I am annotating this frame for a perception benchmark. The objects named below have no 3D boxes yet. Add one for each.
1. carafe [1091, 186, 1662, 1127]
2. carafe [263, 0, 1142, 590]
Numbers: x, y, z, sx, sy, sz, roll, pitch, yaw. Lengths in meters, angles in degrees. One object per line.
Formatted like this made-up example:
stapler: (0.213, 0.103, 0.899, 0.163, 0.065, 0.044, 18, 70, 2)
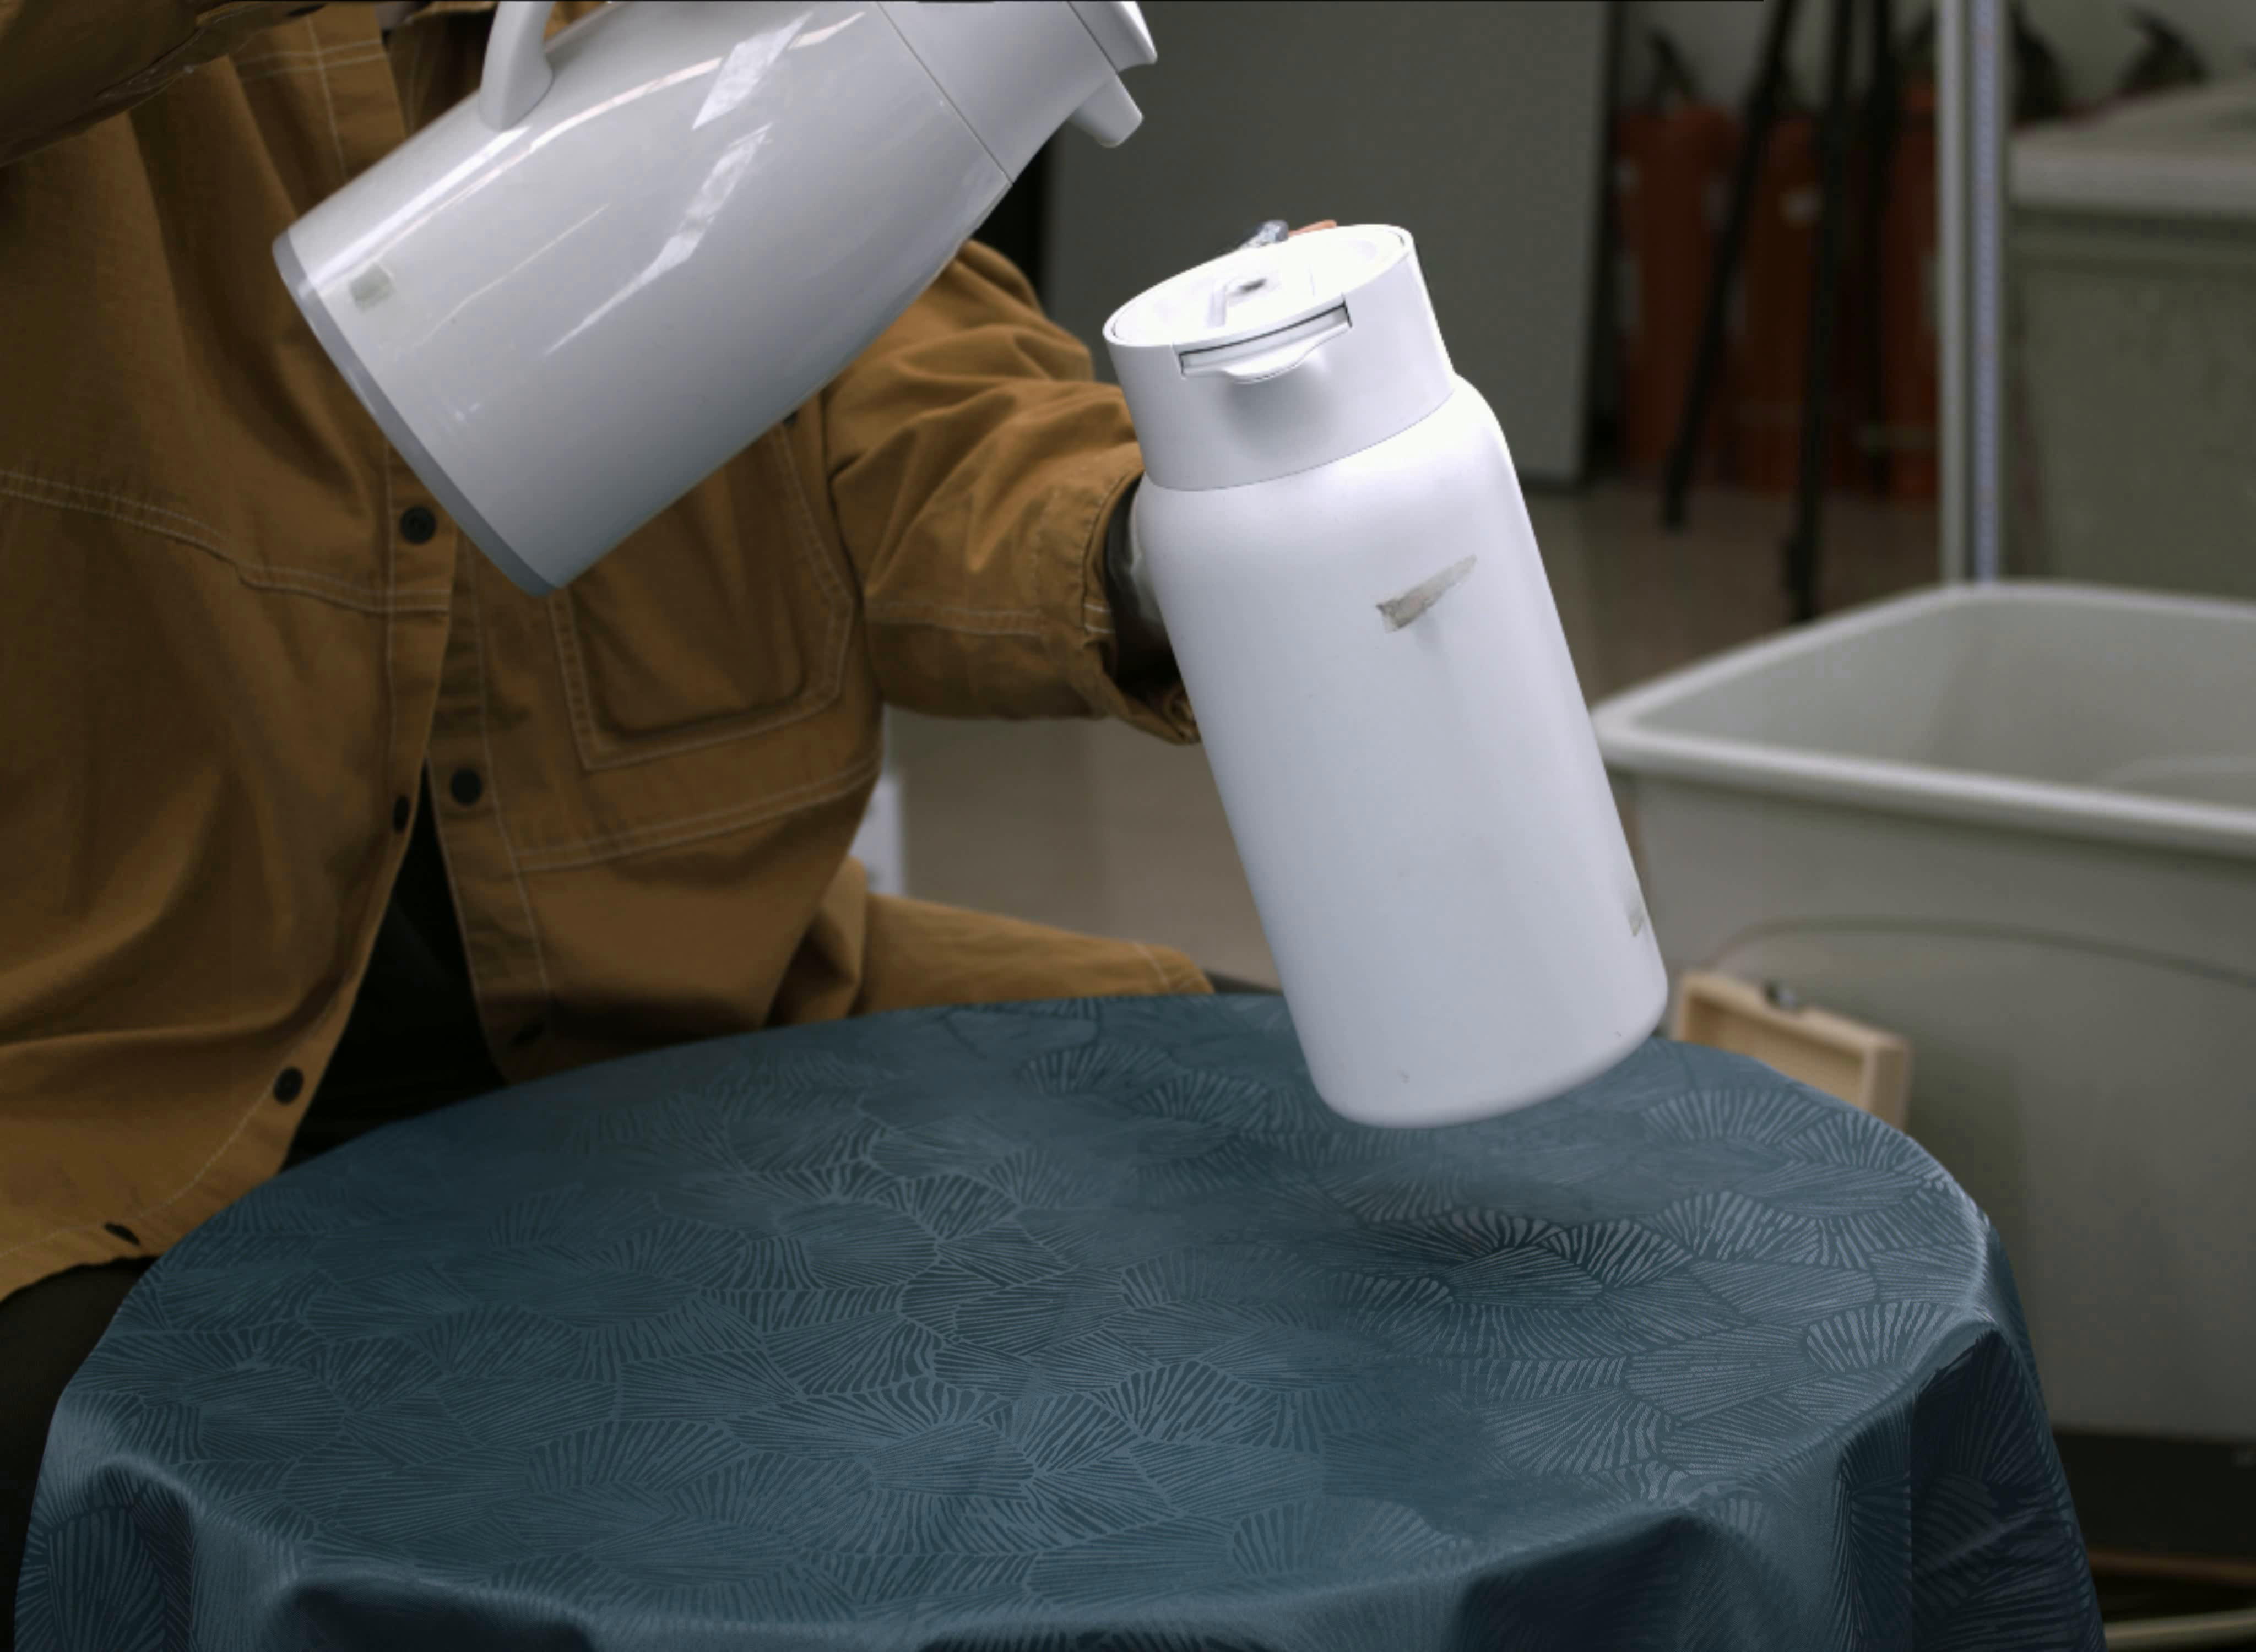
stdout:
carafe: (0.074, -0.055, 1.672, 0.123, 0.270, 0.173, -18, 17, 7)
carafe: (-0.123, -0.207, 1.560, 0.248, 0.166, 0.134, -38, 36, 5)
